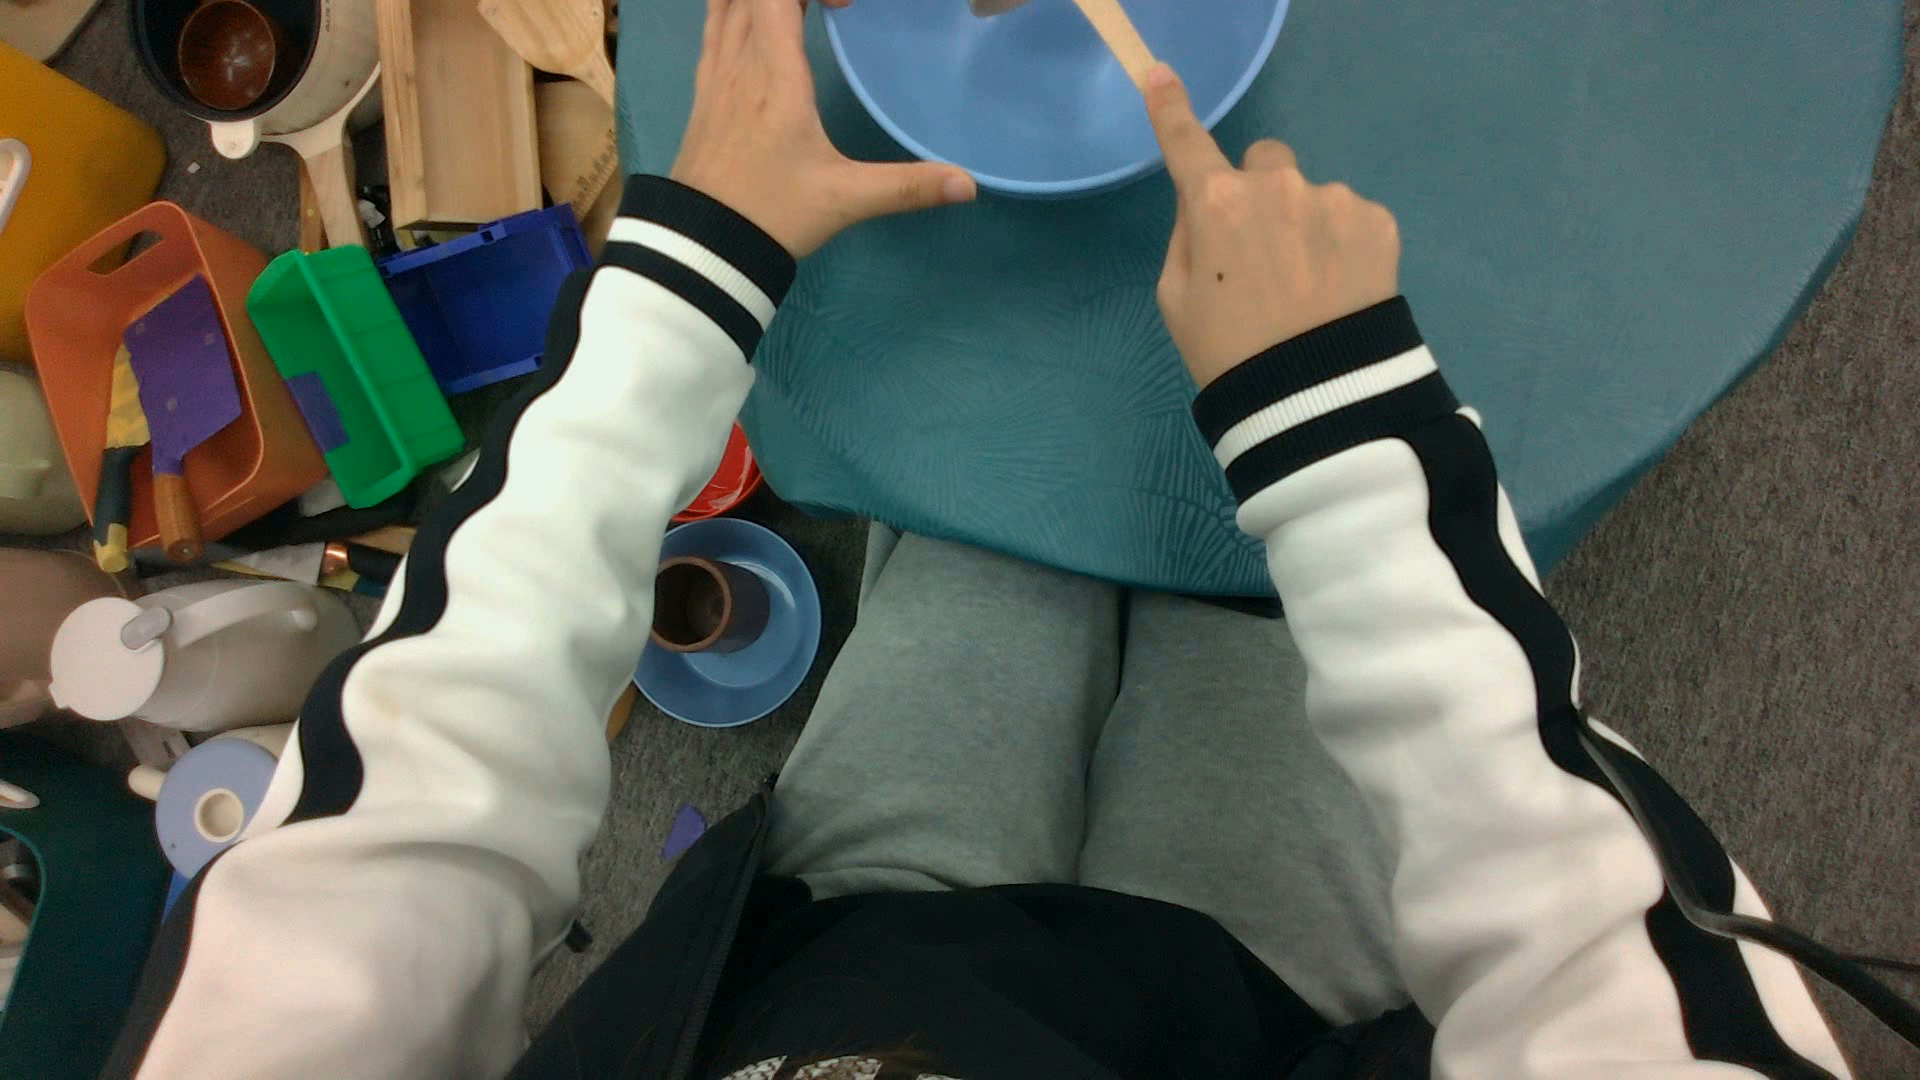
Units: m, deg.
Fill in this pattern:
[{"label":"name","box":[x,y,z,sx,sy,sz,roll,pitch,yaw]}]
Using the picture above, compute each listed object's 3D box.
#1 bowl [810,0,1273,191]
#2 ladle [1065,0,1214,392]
[{"label":"bowl","box":[0.038,-0.239,0.613,0.196,0.095,0.196,-1,84,6]},{"label":"ladle","box":[0.084,-0.172,0.558,0.073,0.072,0.255,0,67,-37]}]
